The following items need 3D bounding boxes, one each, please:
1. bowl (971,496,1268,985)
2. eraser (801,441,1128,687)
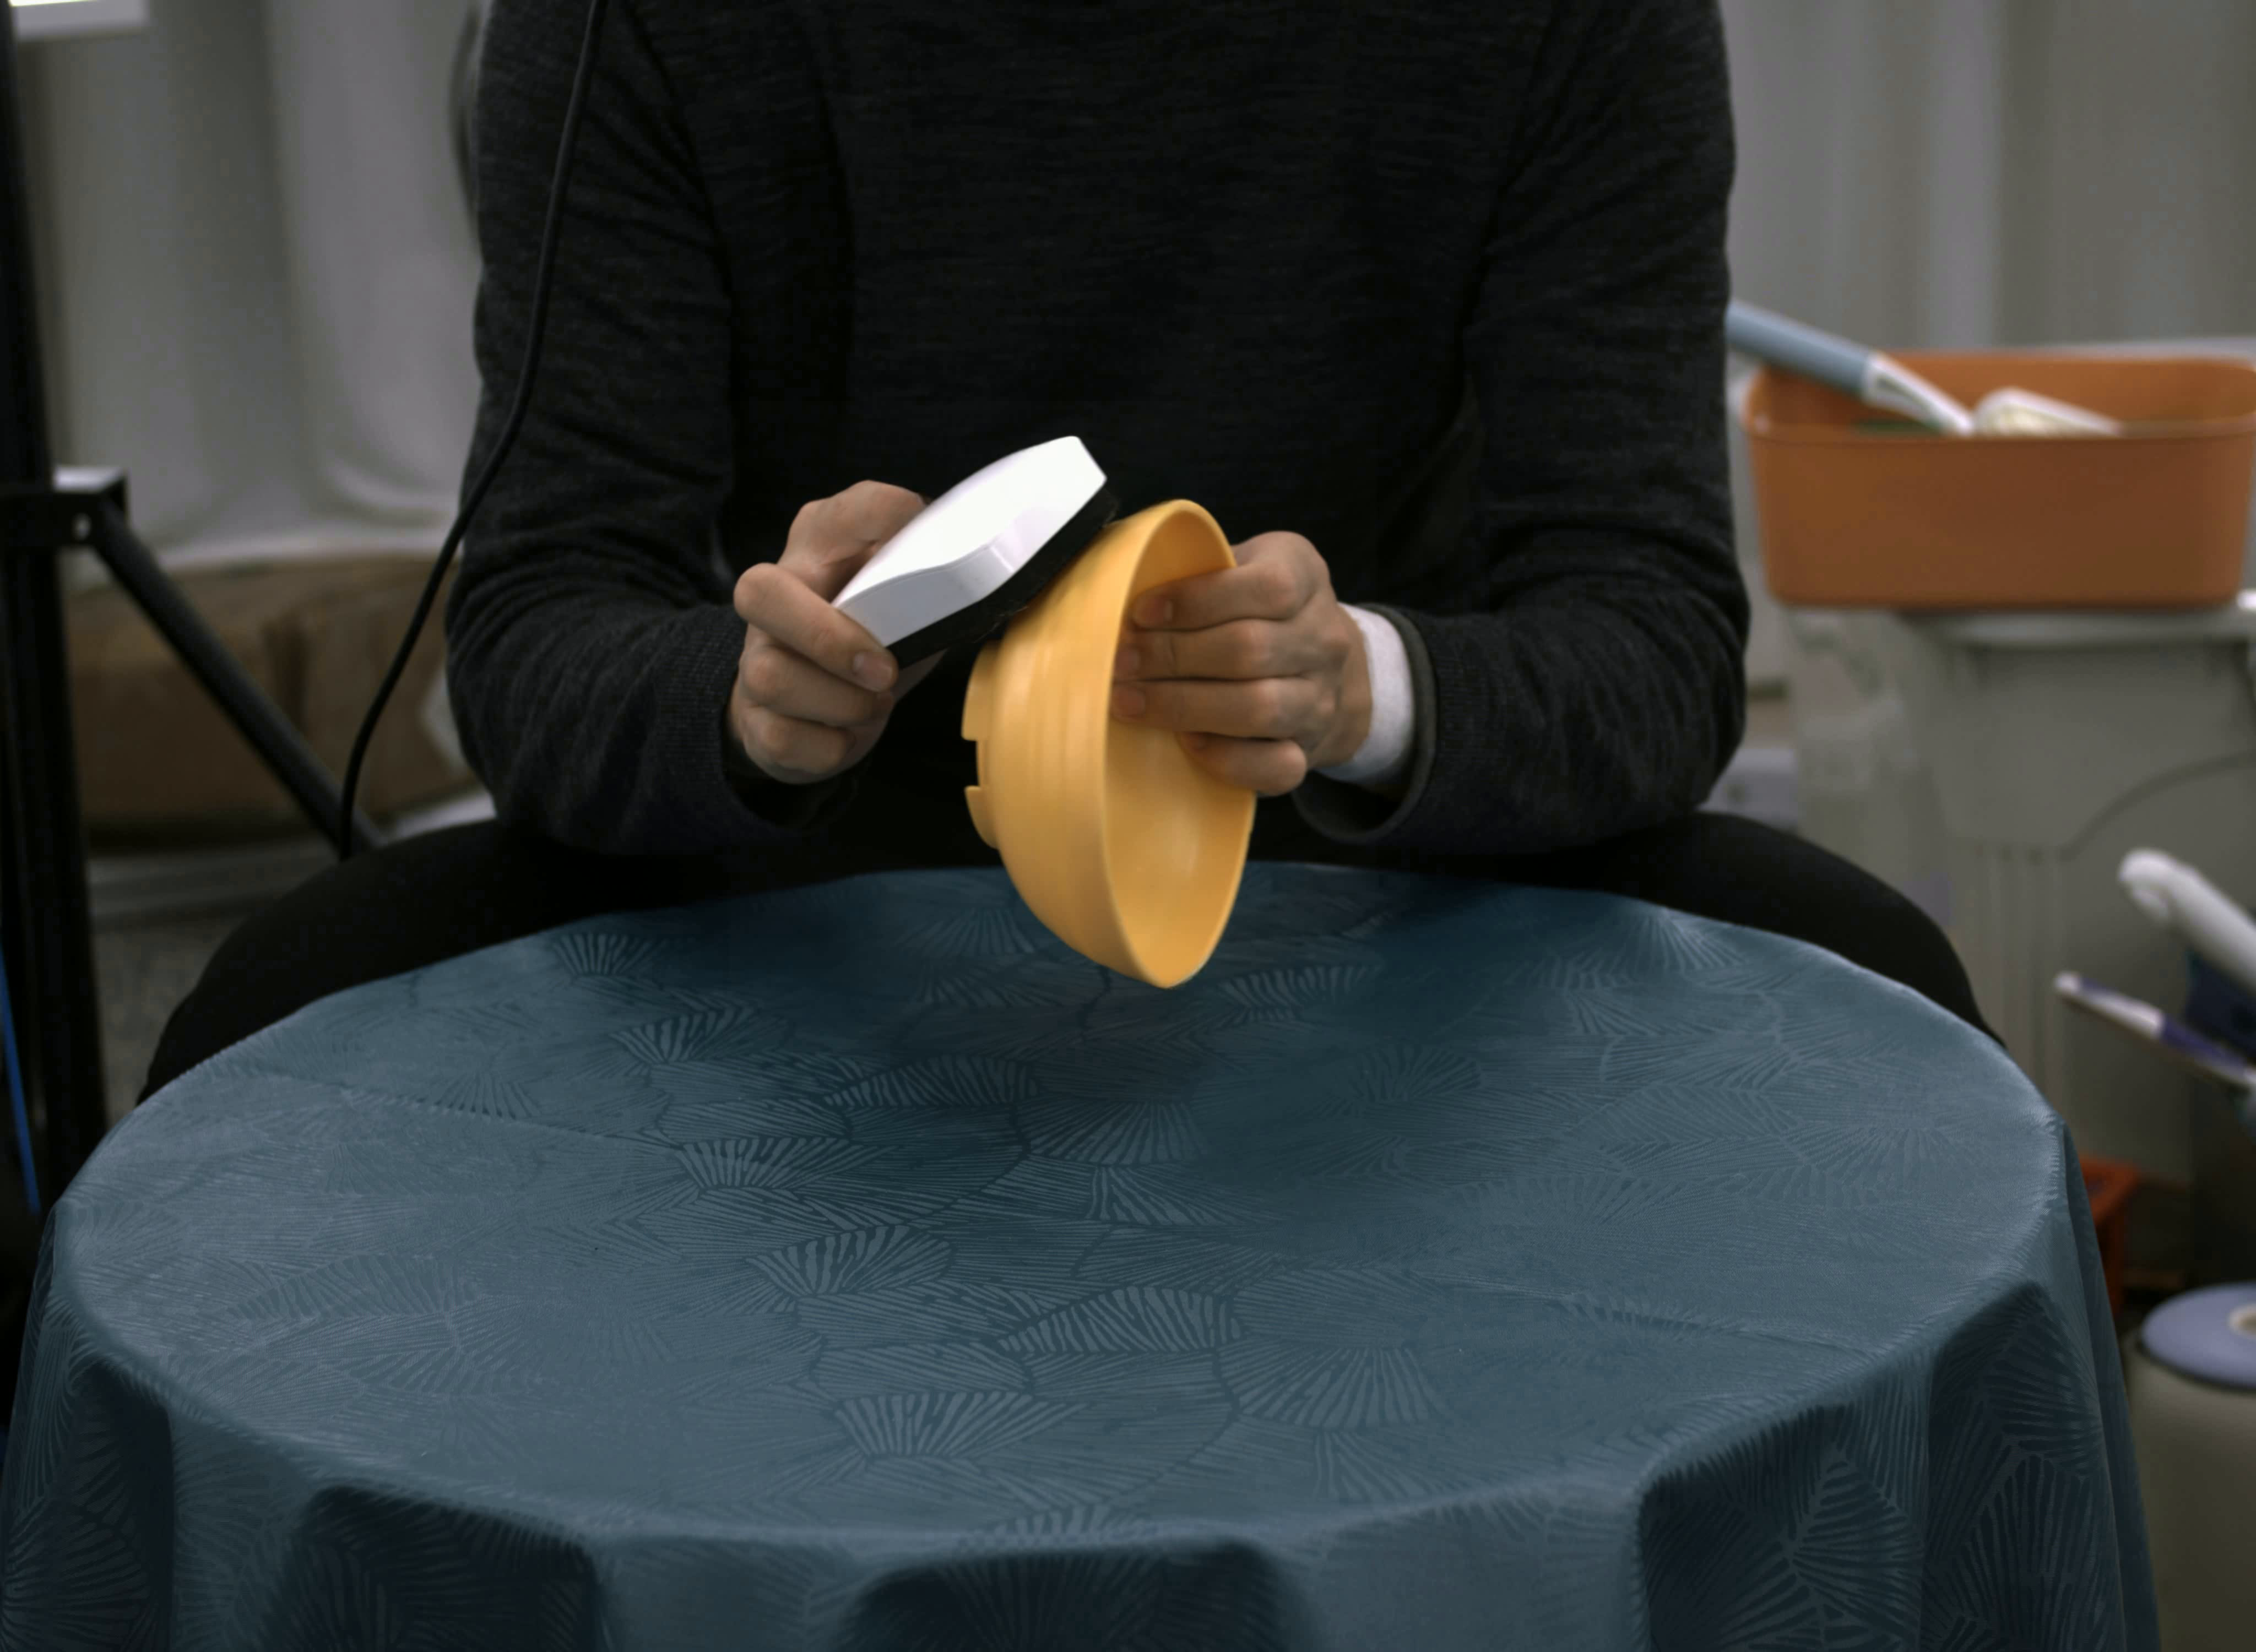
[{"bbox_3d":[-0.008,-0.026,1.590,0.061,0.145,0.143,2,16,20],"label":"bowl"},{"bbox_3d":[-0.050,-0.080,1.603,0.063,0.034,0.133,-45,12,-26],"label":"eraser"}]
